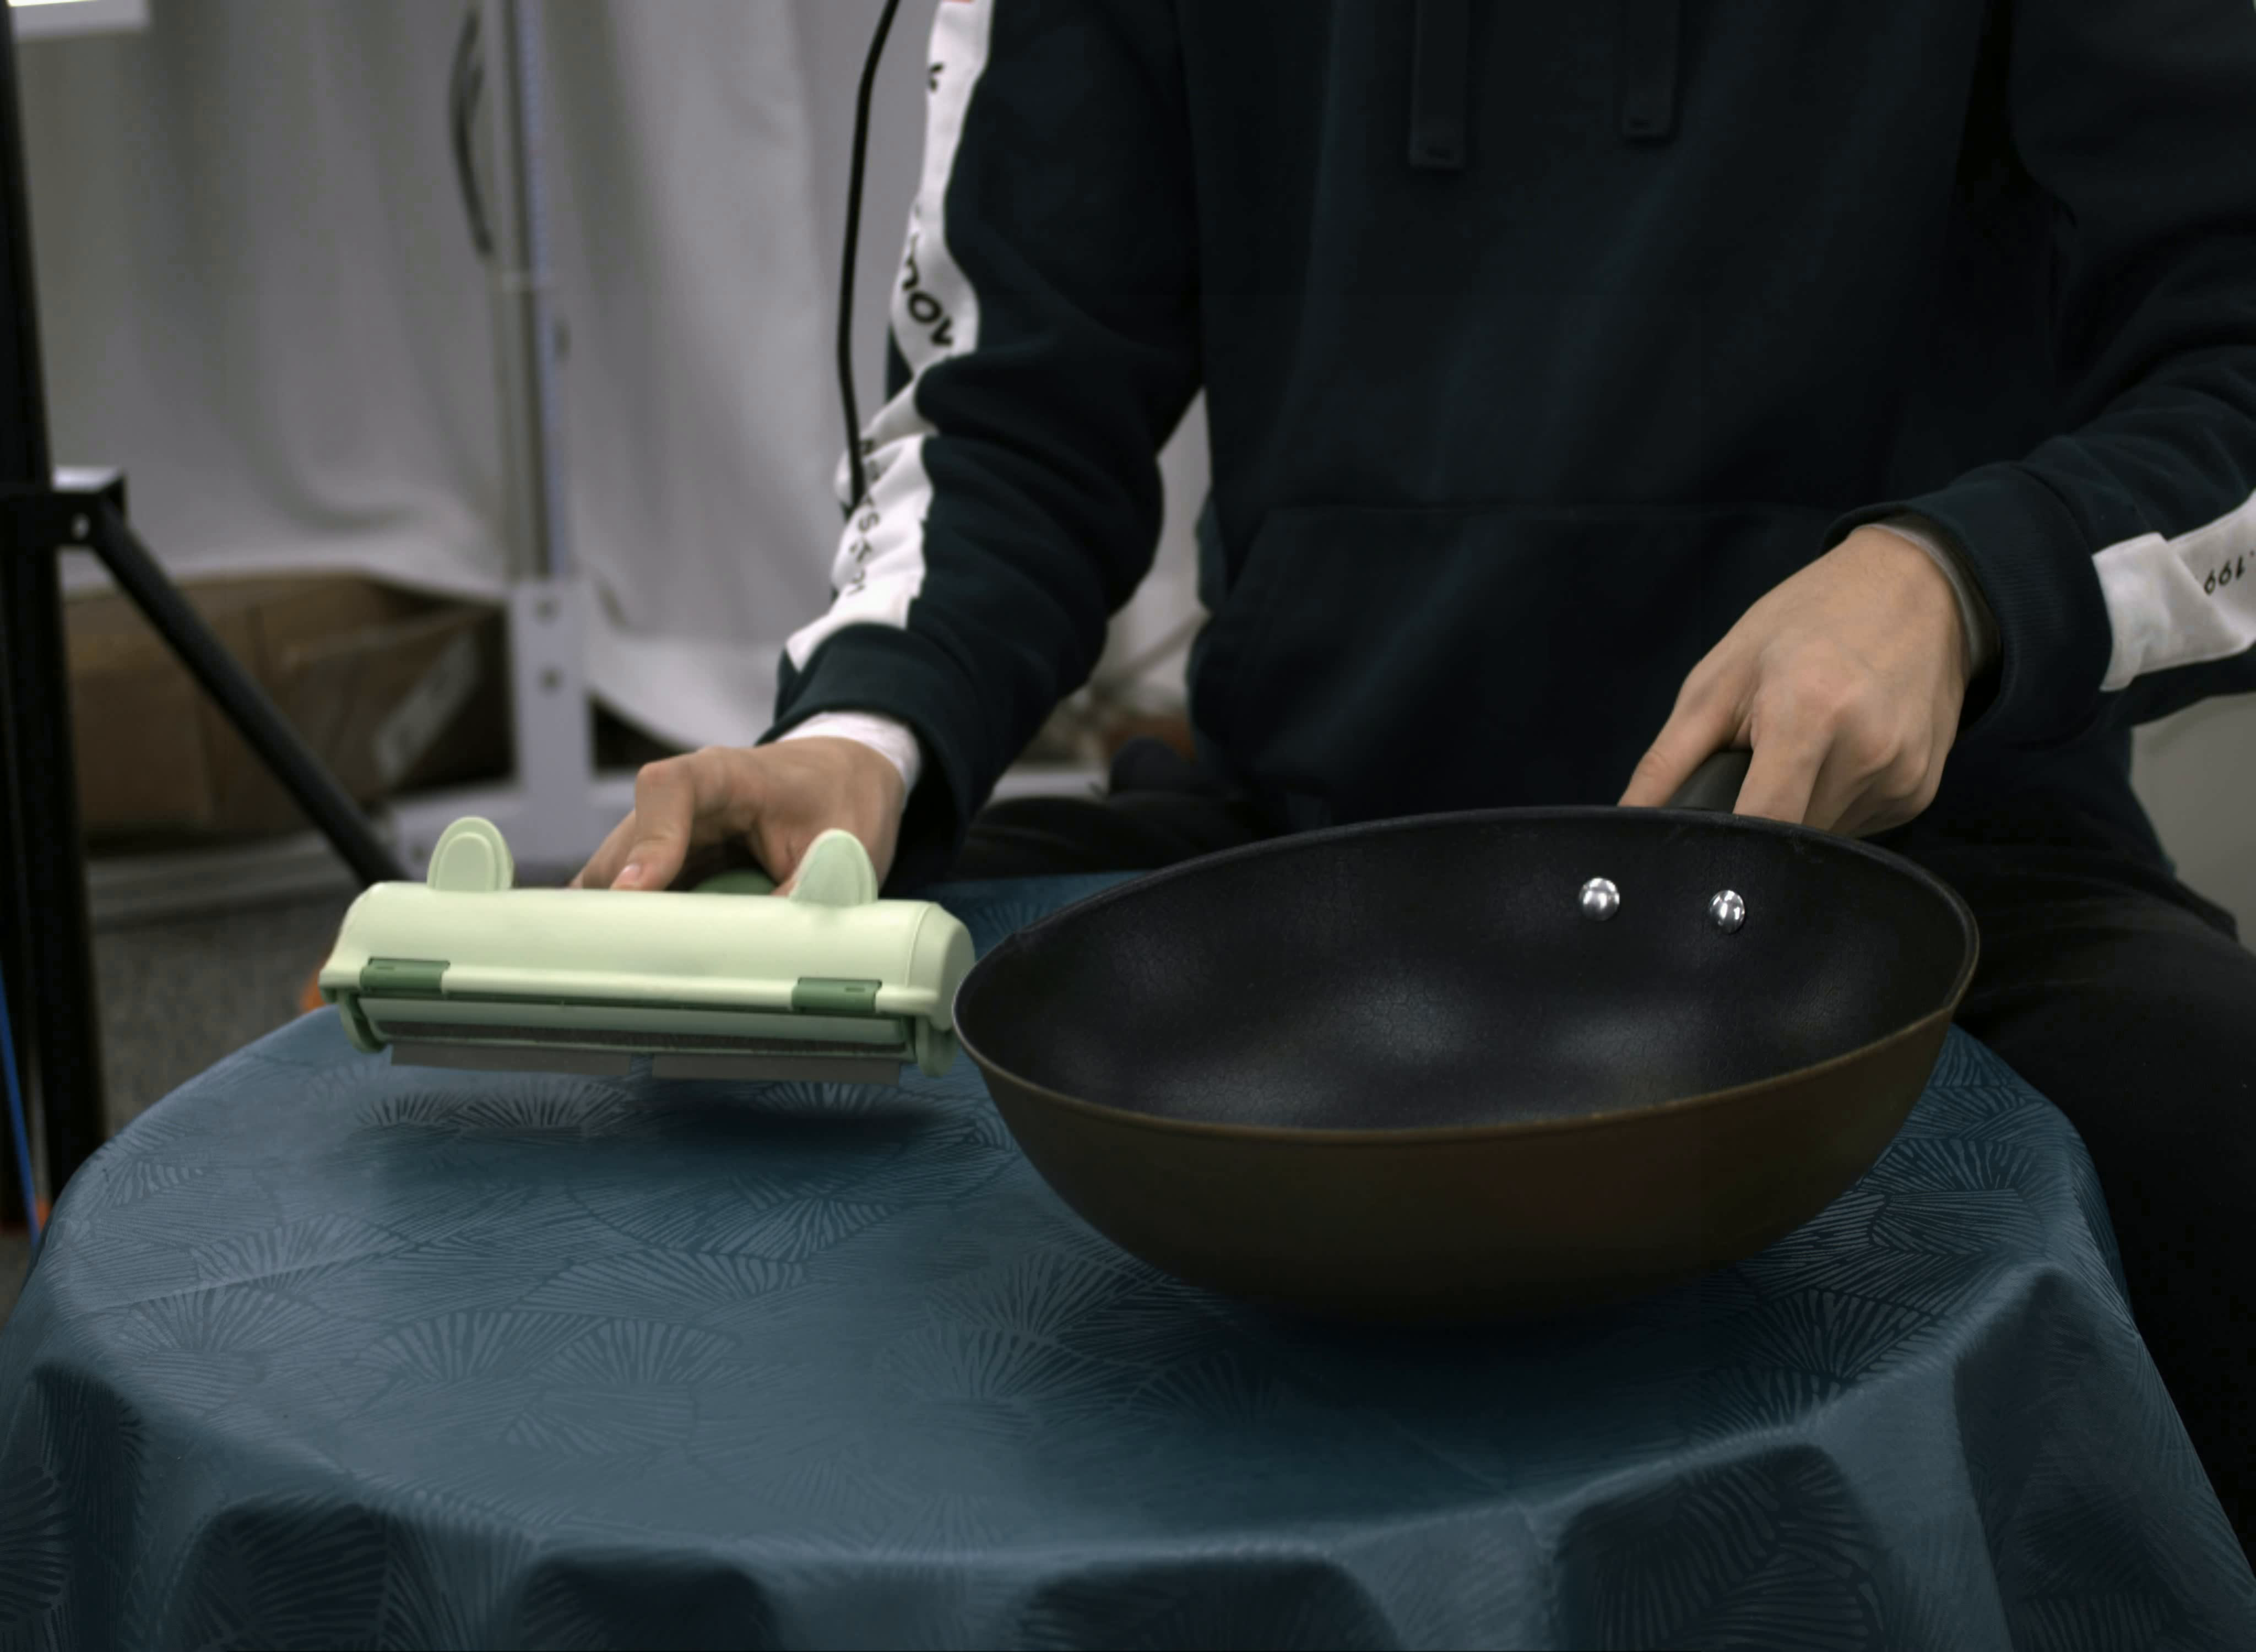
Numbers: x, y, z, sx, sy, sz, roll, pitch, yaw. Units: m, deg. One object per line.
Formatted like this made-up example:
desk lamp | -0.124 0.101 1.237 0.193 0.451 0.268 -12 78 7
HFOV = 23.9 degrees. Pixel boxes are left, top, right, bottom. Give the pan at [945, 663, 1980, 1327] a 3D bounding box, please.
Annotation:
pan | 0.138 0.047 1.529 0.293 0.087 0.455 4 18 31

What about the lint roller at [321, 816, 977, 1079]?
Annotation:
lint roller | -0.134 0.022 1.684 0.200 0.082 0.182 1 20 14
